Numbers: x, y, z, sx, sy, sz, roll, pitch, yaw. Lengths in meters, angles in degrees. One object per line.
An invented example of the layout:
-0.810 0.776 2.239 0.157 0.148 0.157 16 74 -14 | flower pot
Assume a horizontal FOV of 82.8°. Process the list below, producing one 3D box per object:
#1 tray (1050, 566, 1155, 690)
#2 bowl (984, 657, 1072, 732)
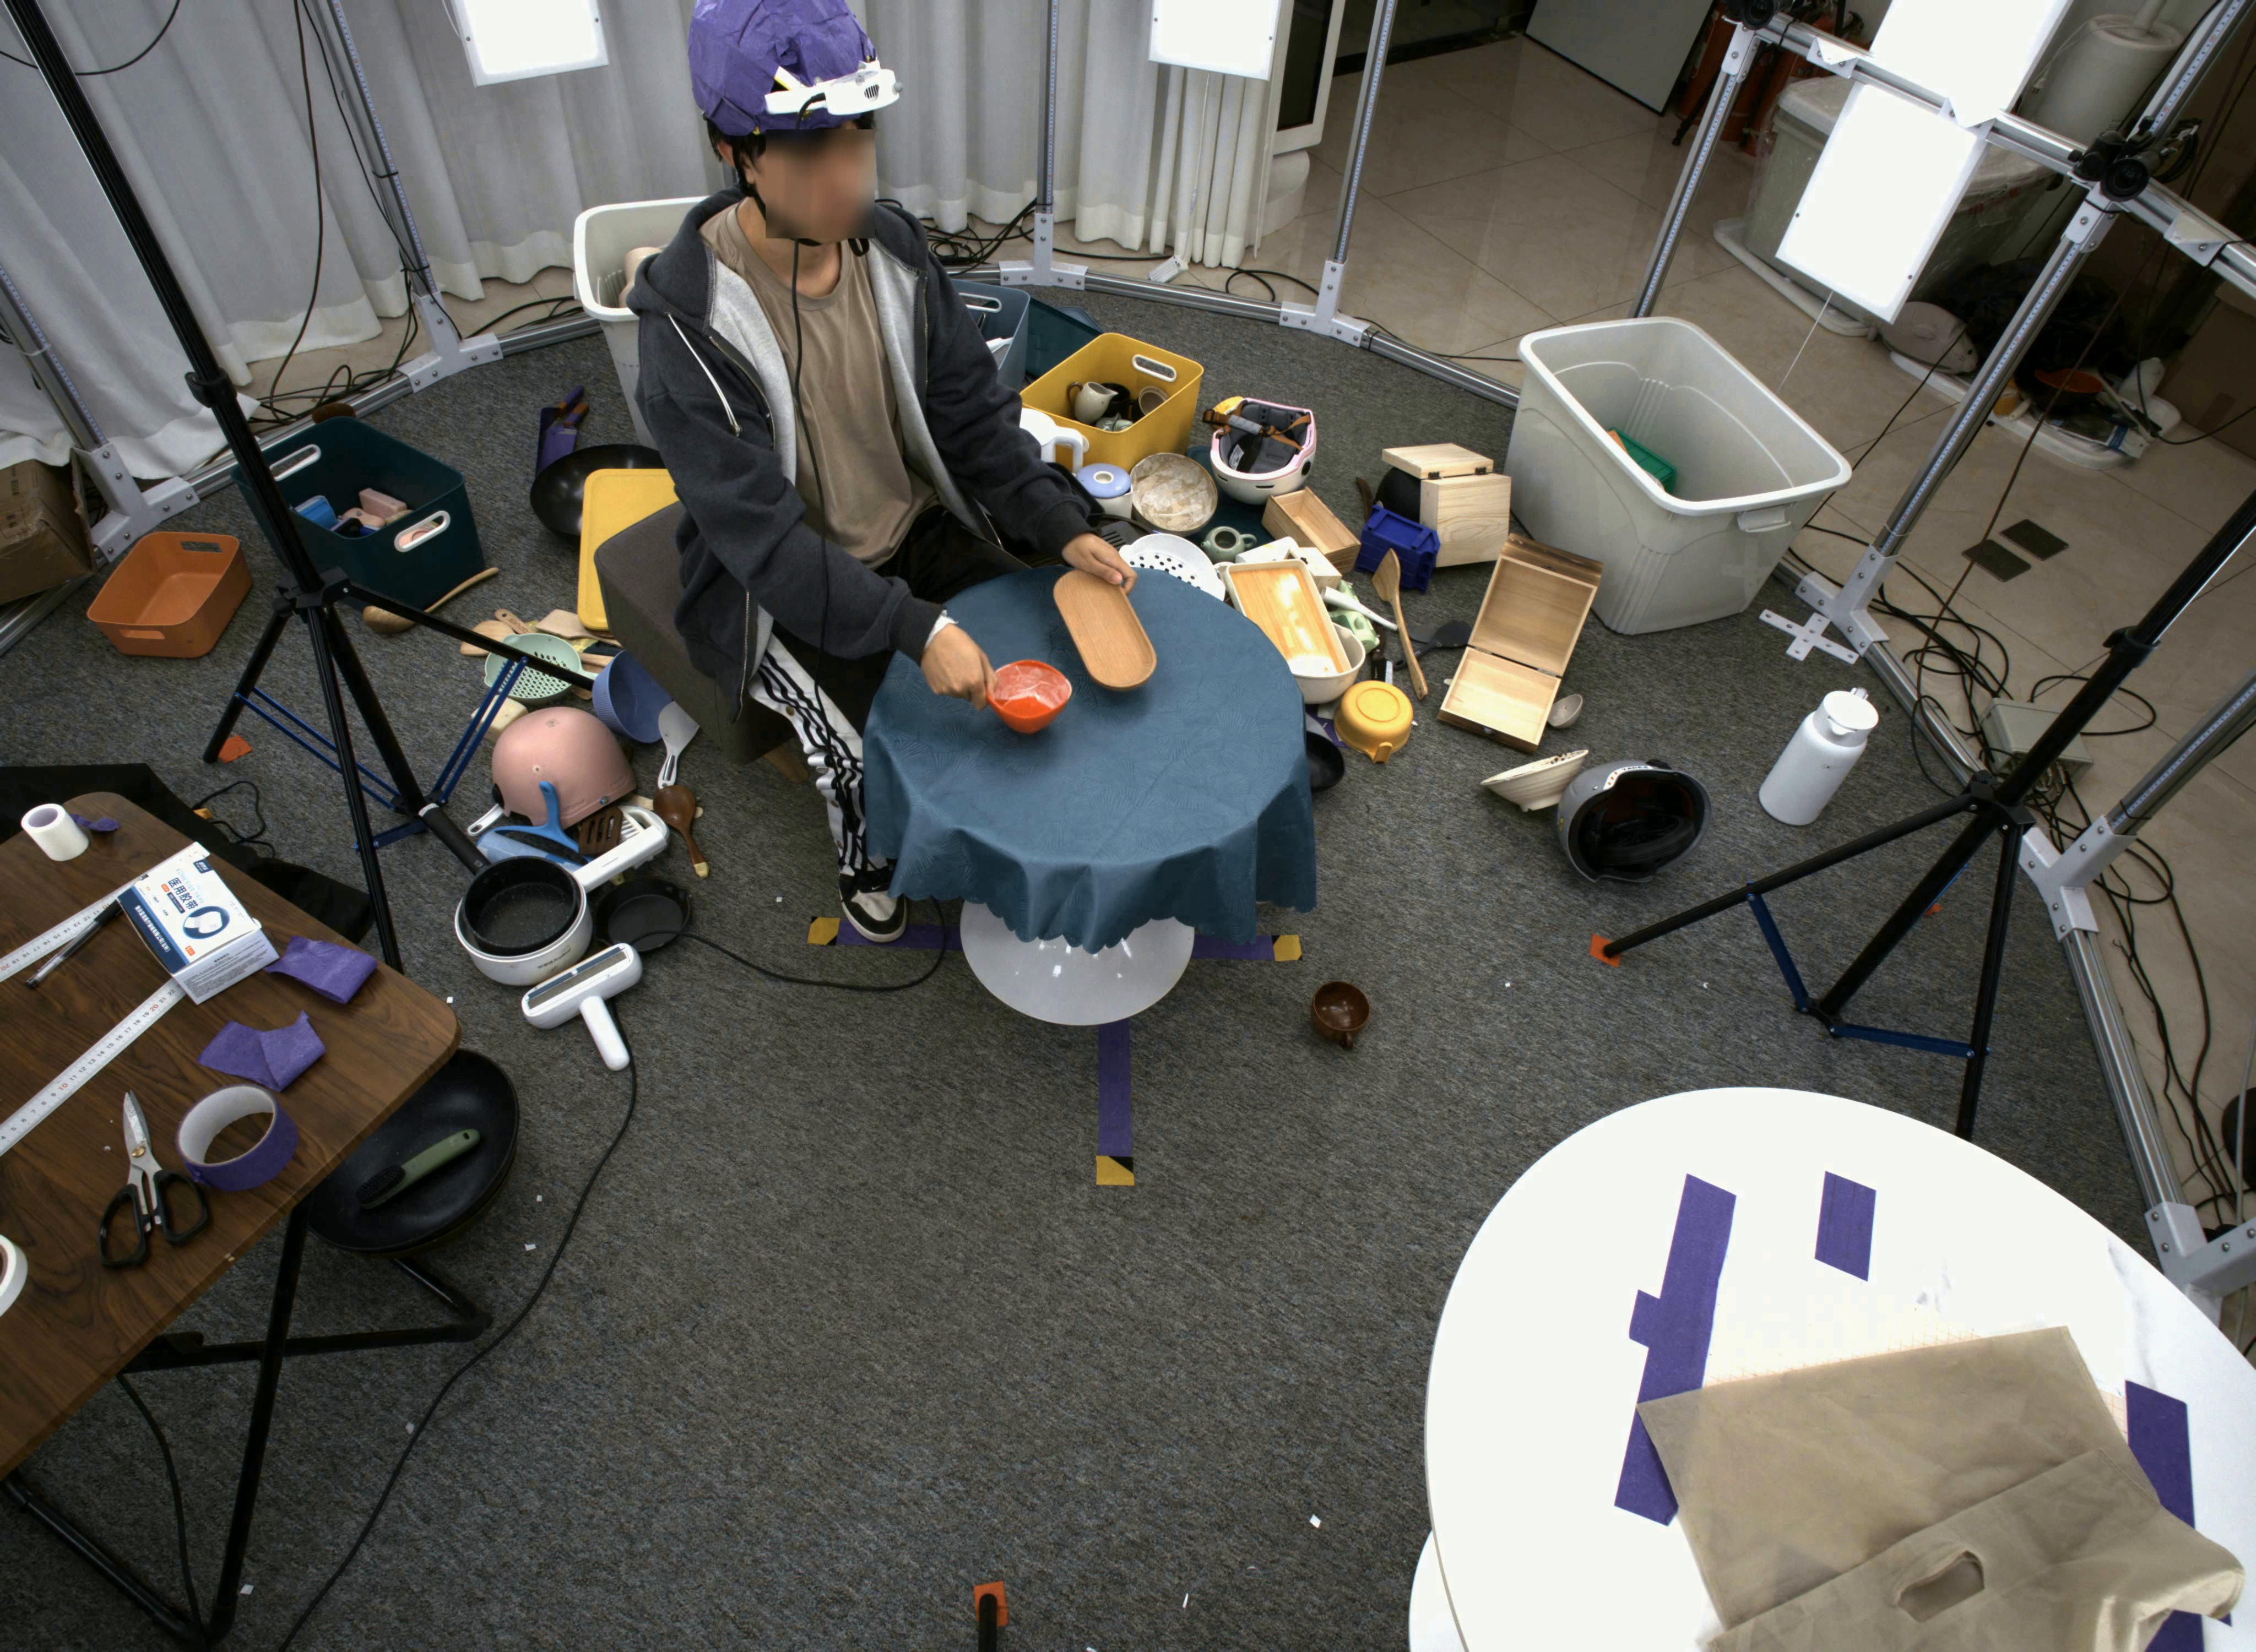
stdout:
-0.038 -0.286 1.845 0.102 0.020 0.236 -18 57 -13 | tray
-0.136 -0.172 1.744 0.119 0.050 0.122 2 47 -3 | bowl
